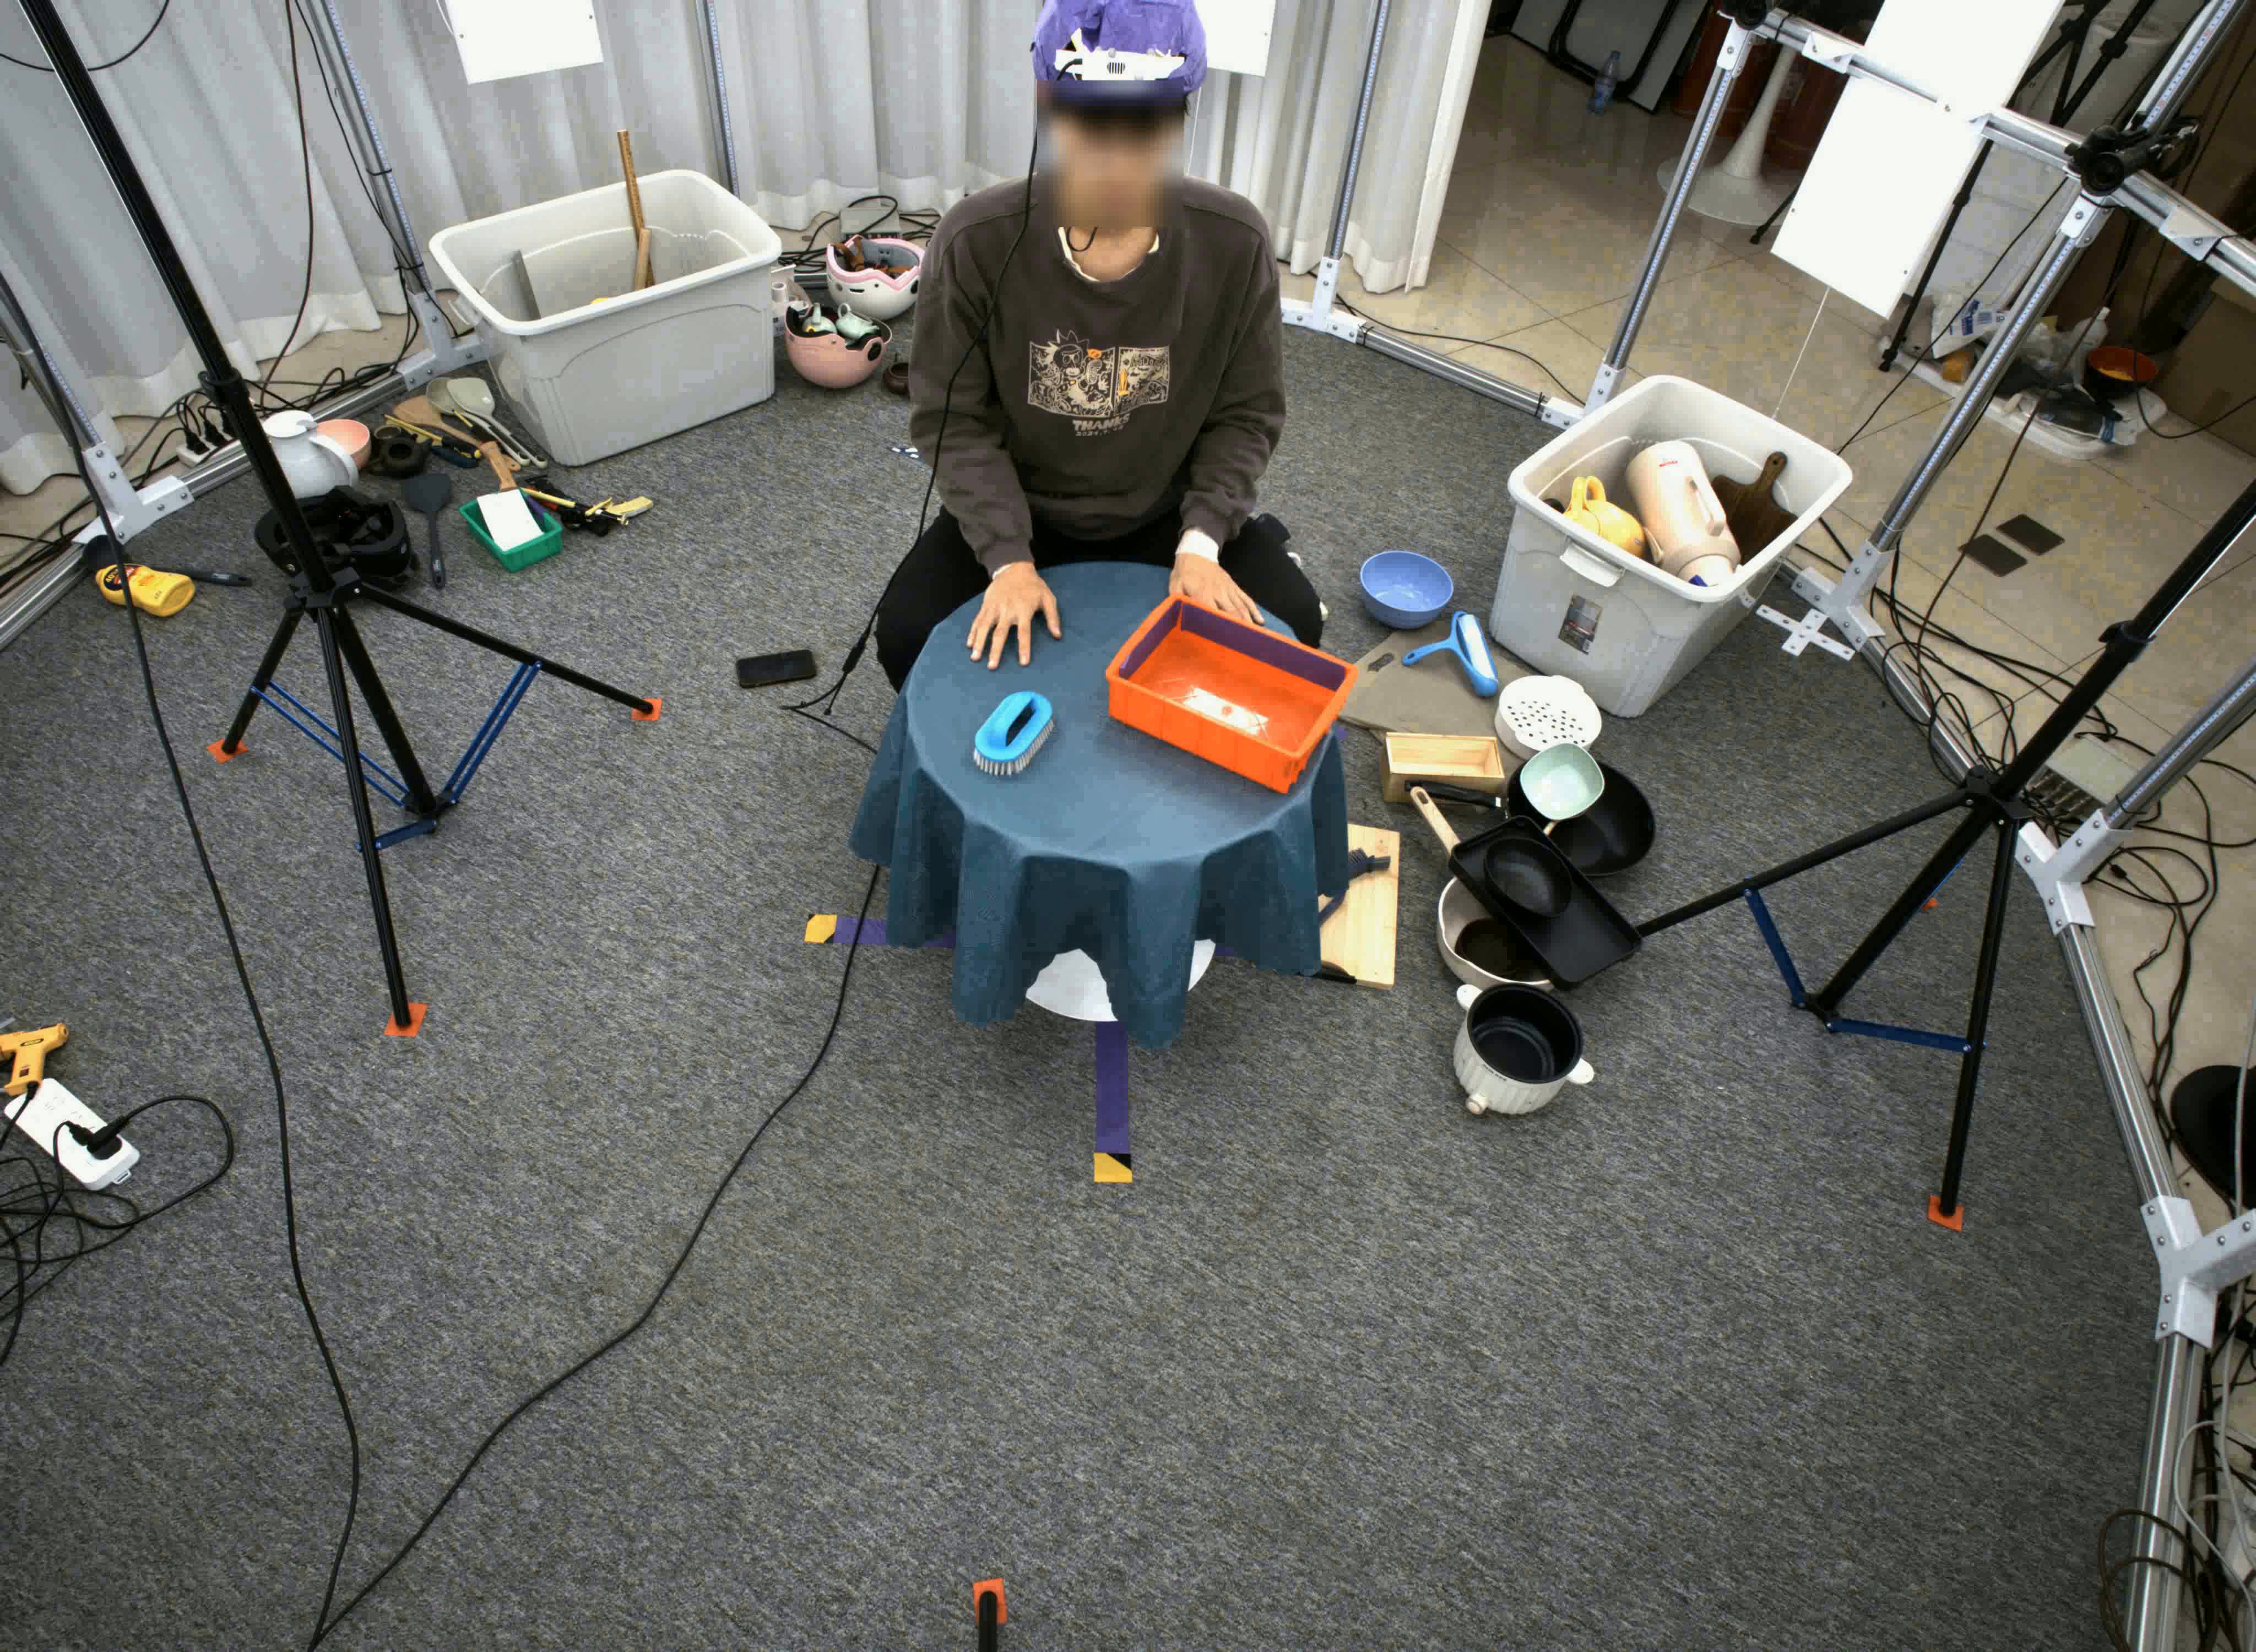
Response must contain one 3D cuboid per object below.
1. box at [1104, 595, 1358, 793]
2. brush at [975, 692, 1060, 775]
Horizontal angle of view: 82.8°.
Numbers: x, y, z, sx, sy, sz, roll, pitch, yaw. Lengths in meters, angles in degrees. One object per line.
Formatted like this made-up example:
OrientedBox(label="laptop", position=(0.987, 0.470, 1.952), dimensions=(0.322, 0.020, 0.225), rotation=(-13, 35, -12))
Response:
OrientedBox(label="box", position=(0.139, -0.184, 1.779), dimensions=(0.306, 0.094, 0.210), rotation=(26, 52, 18))
OrientedBox(label="brush", position=(-0.151, -0.138, 1.733), dimensions=(0.085, 0.062, 0.144), rotation=(21, 50, 20))
